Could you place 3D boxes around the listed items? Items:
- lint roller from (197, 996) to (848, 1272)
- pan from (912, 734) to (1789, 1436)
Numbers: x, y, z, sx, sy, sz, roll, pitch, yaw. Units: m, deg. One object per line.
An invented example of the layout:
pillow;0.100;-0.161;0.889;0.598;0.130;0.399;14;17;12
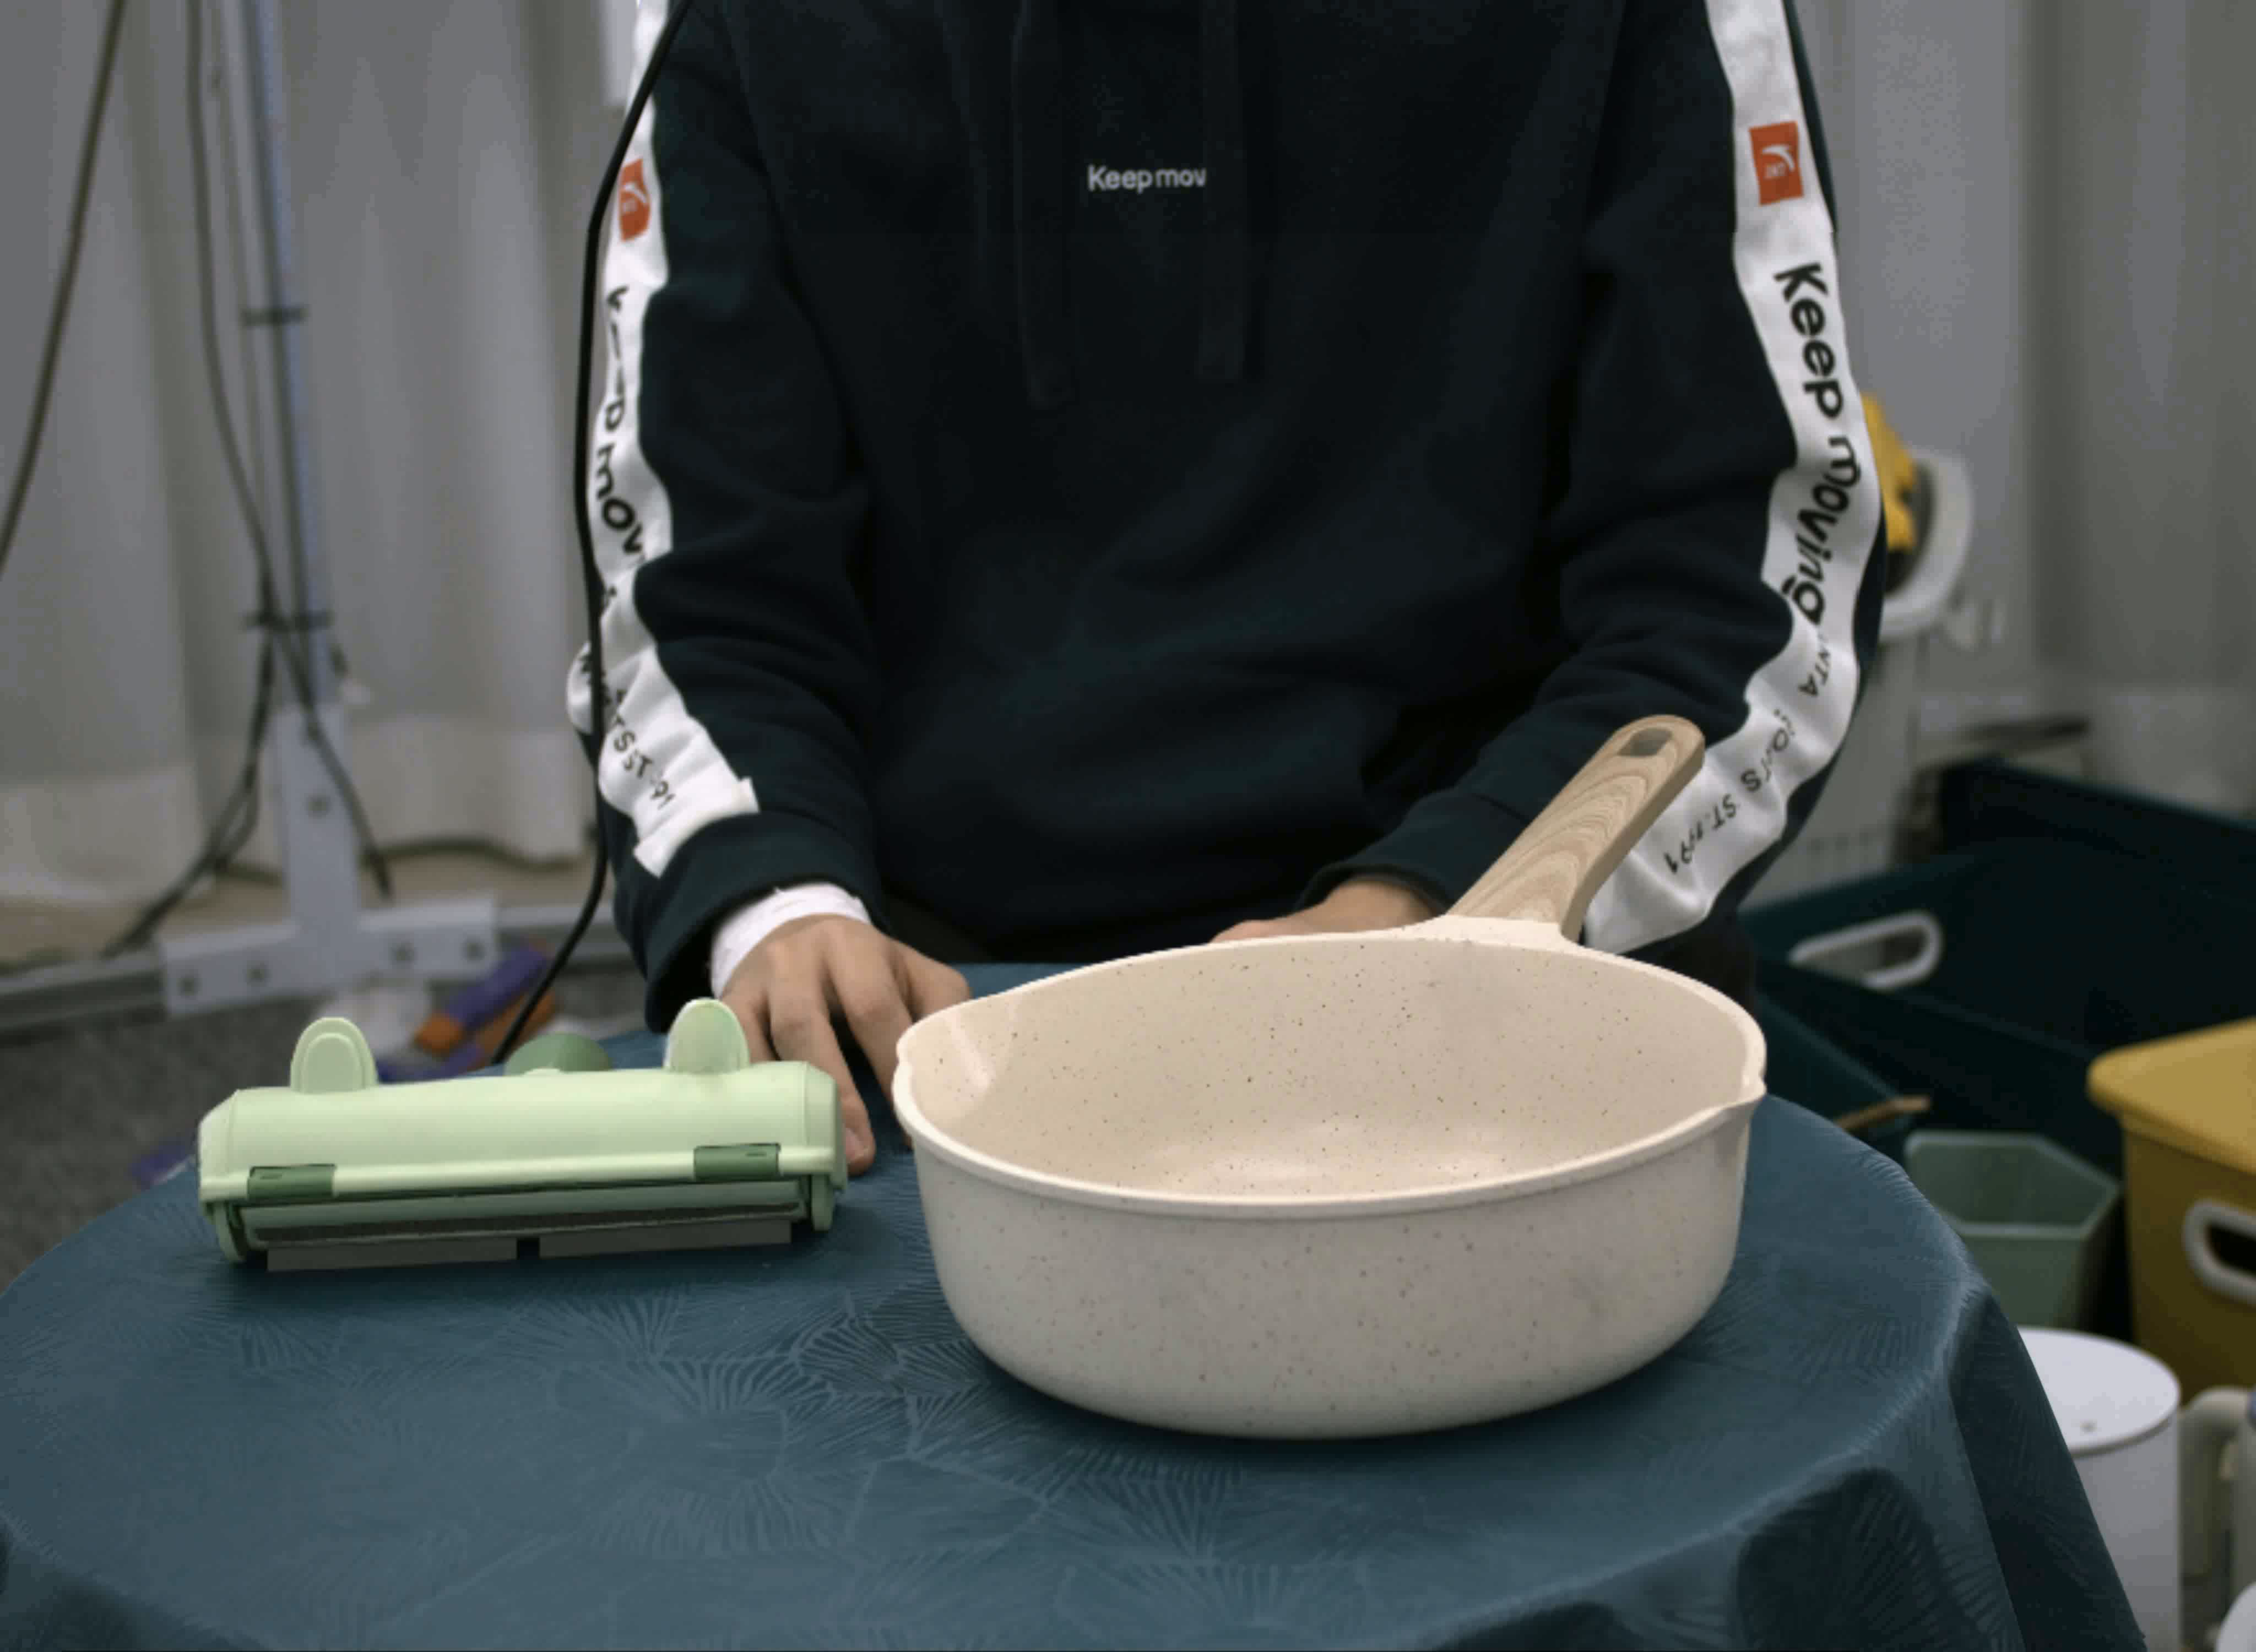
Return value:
lint roller;-0.187;0.079;1.741;0.198;0.081;0.185;-3;20;0
pan;0.100;0.074;1.656;0.263;0.101;0.436;2;15;24
